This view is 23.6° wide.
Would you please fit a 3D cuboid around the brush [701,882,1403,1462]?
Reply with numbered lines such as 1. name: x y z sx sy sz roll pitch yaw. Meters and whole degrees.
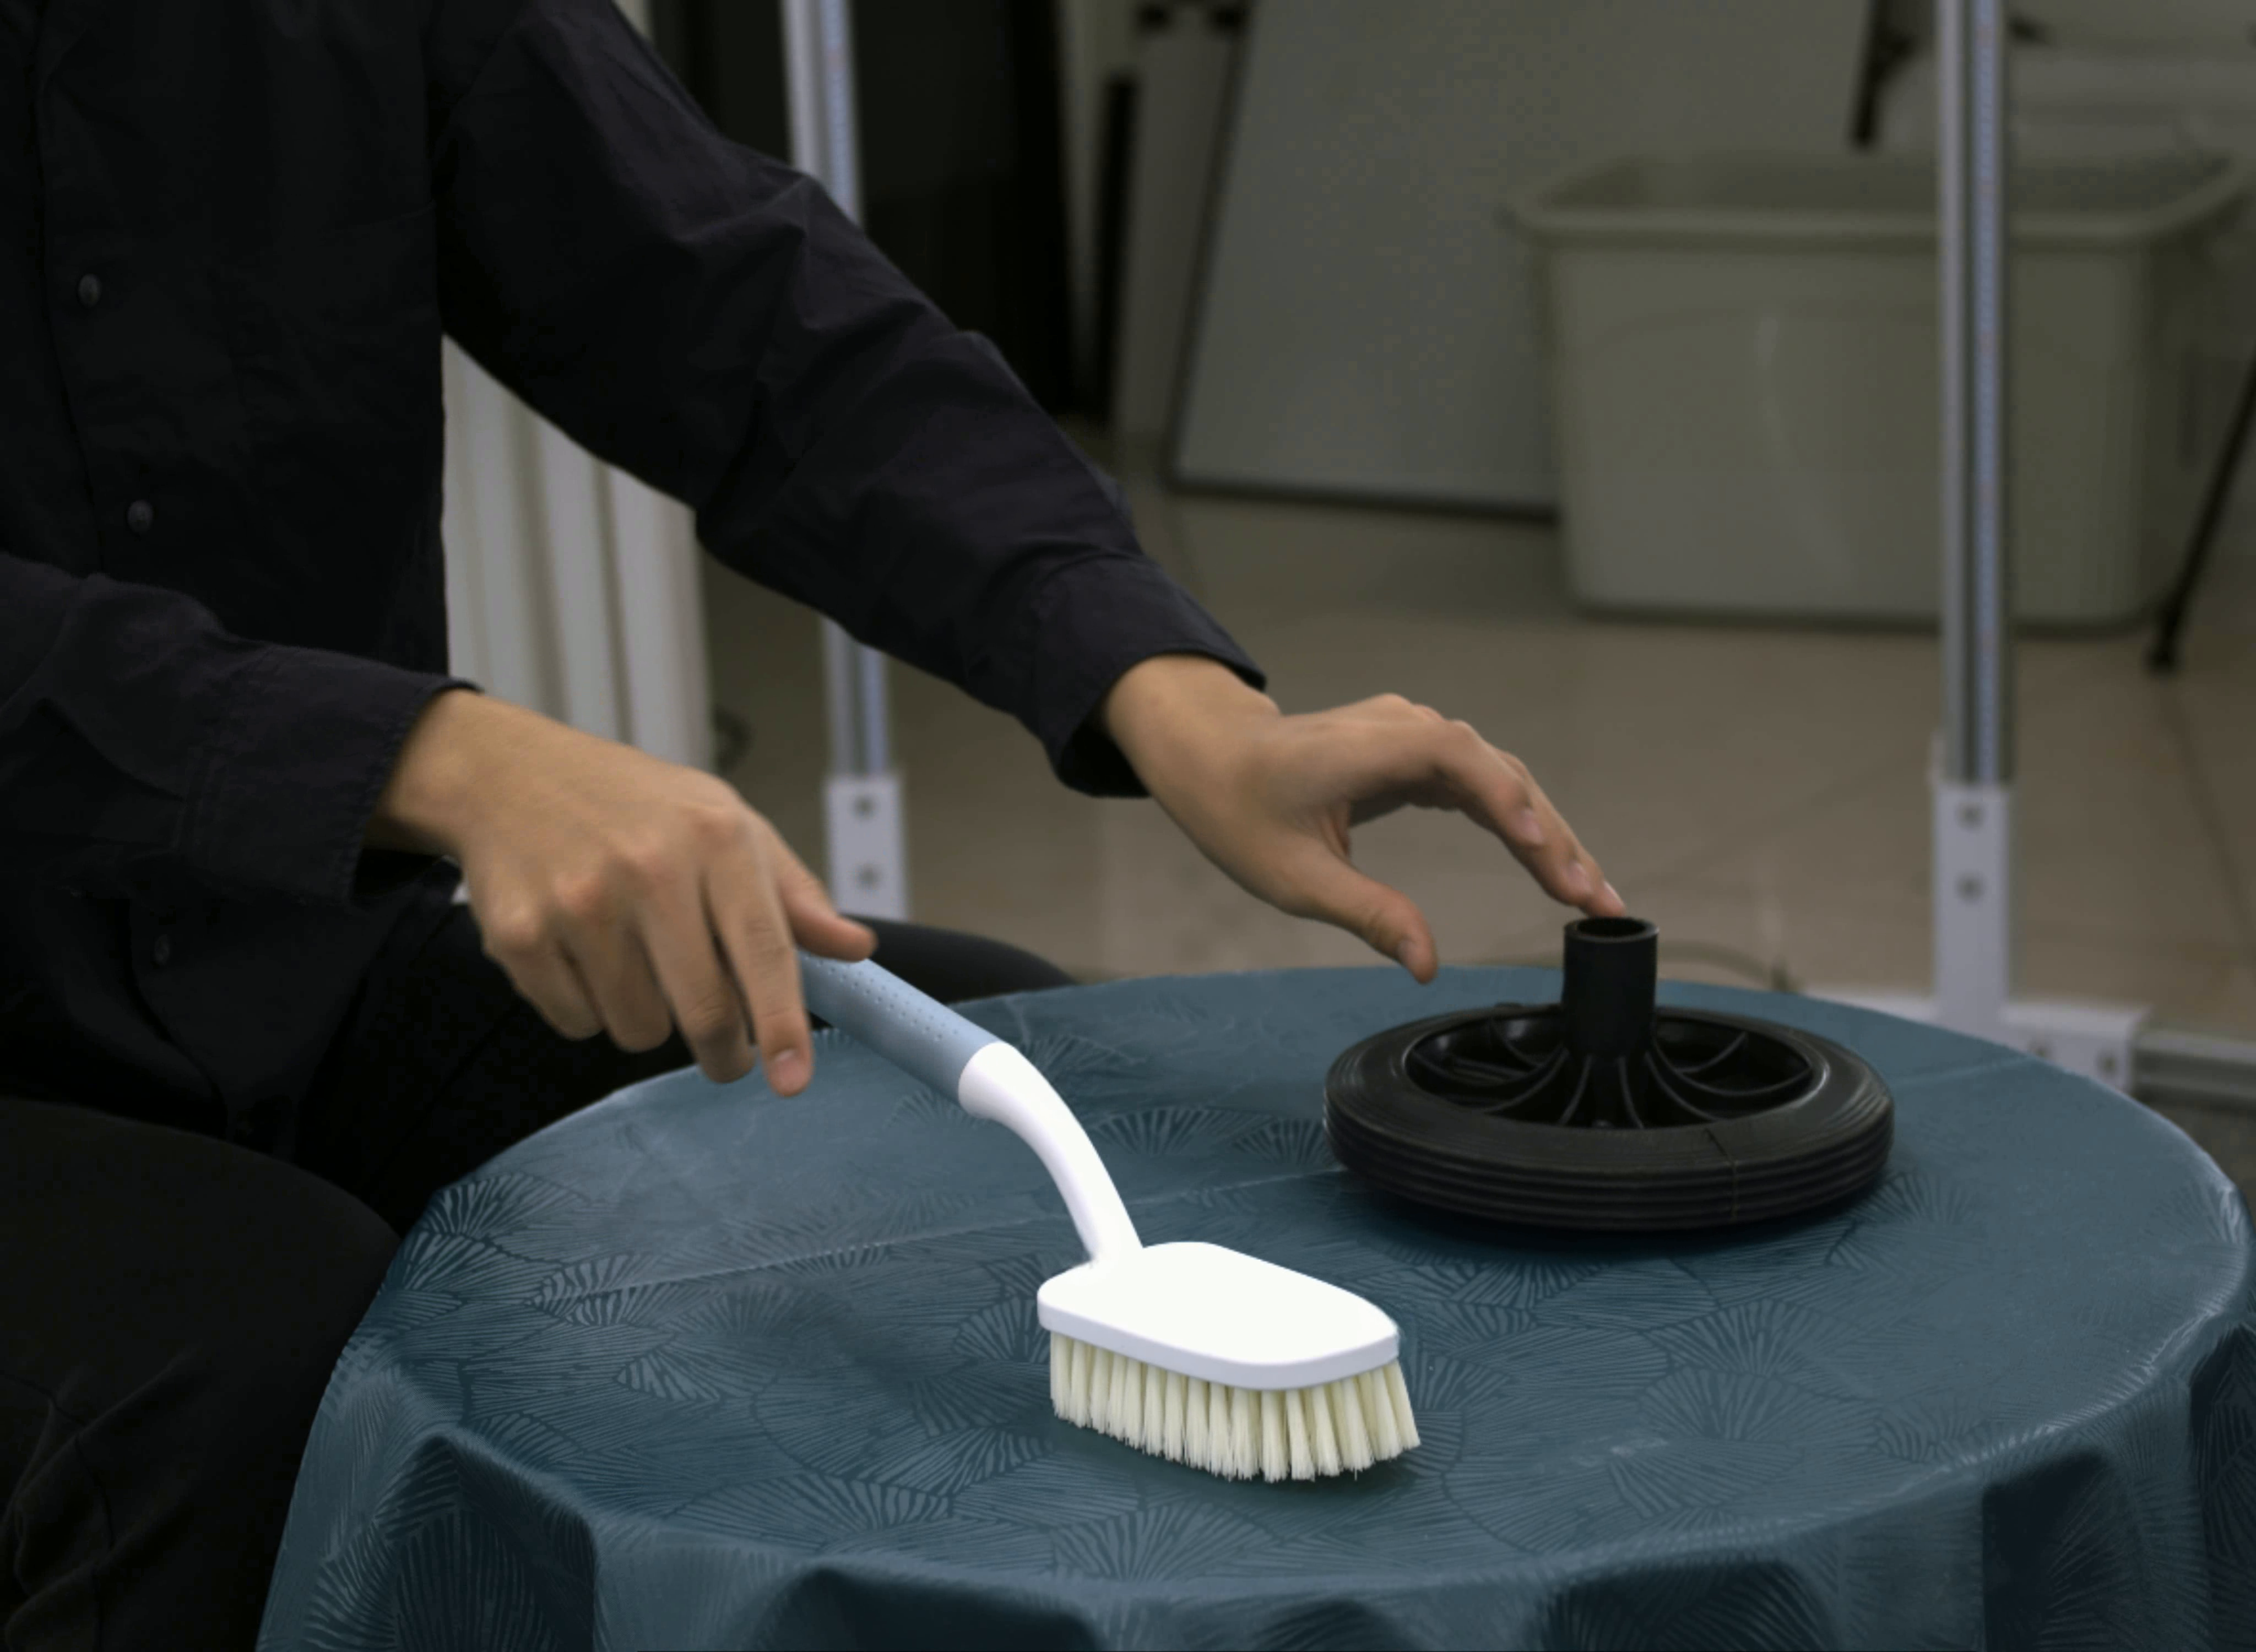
1. brush: -0.028 0.116 1.621 0.329 0.085 0.082 30 -3 45

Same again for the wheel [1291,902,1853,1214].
1. wheel: 0.145 0.068 1.767 0.189 0.080 0.186 11 19 38
